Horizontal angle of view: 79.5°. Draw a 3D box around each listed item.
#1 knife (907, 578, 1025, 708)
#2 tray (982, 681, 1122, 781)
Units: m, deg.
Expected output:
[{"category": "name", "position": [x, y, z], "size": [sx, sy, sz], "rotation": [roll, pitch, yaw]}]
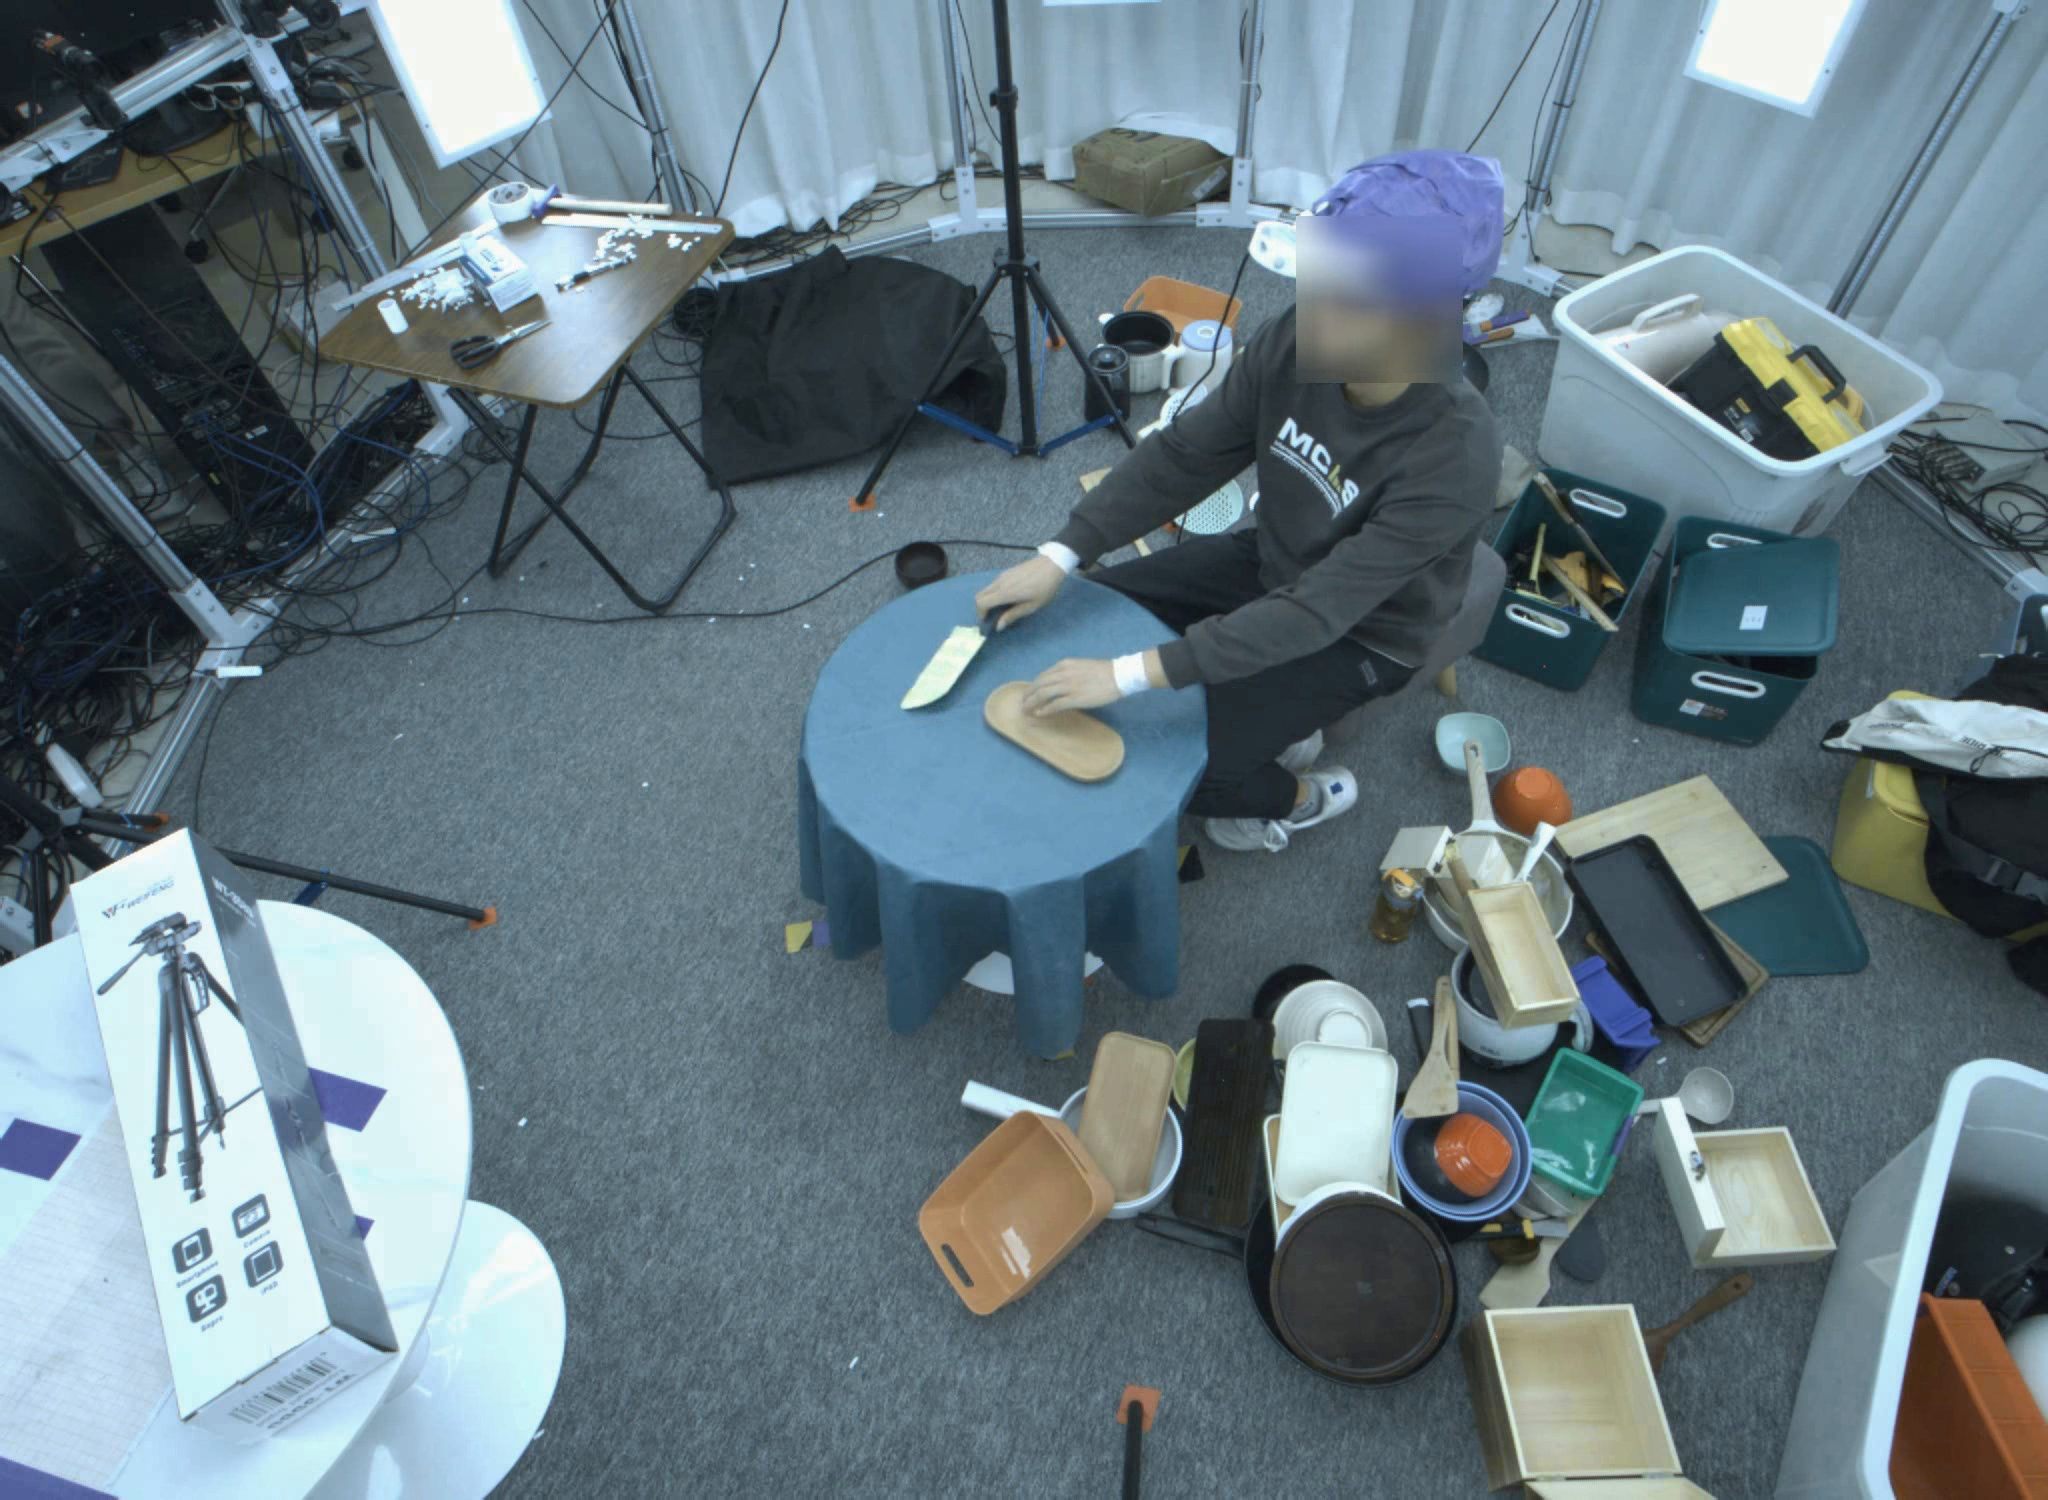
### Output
[{"category": "knife", "position": [-0.090, -0.167, 1.894], "size": [0.079, 0.028, 0.290], "rotation": [18, 58, 33]}, {"category": "tray", "position": [0.040, -0.029, 1.805], "size": [0.227, 0.020, 0.102], "rotation": [31, 59, 22]}]
